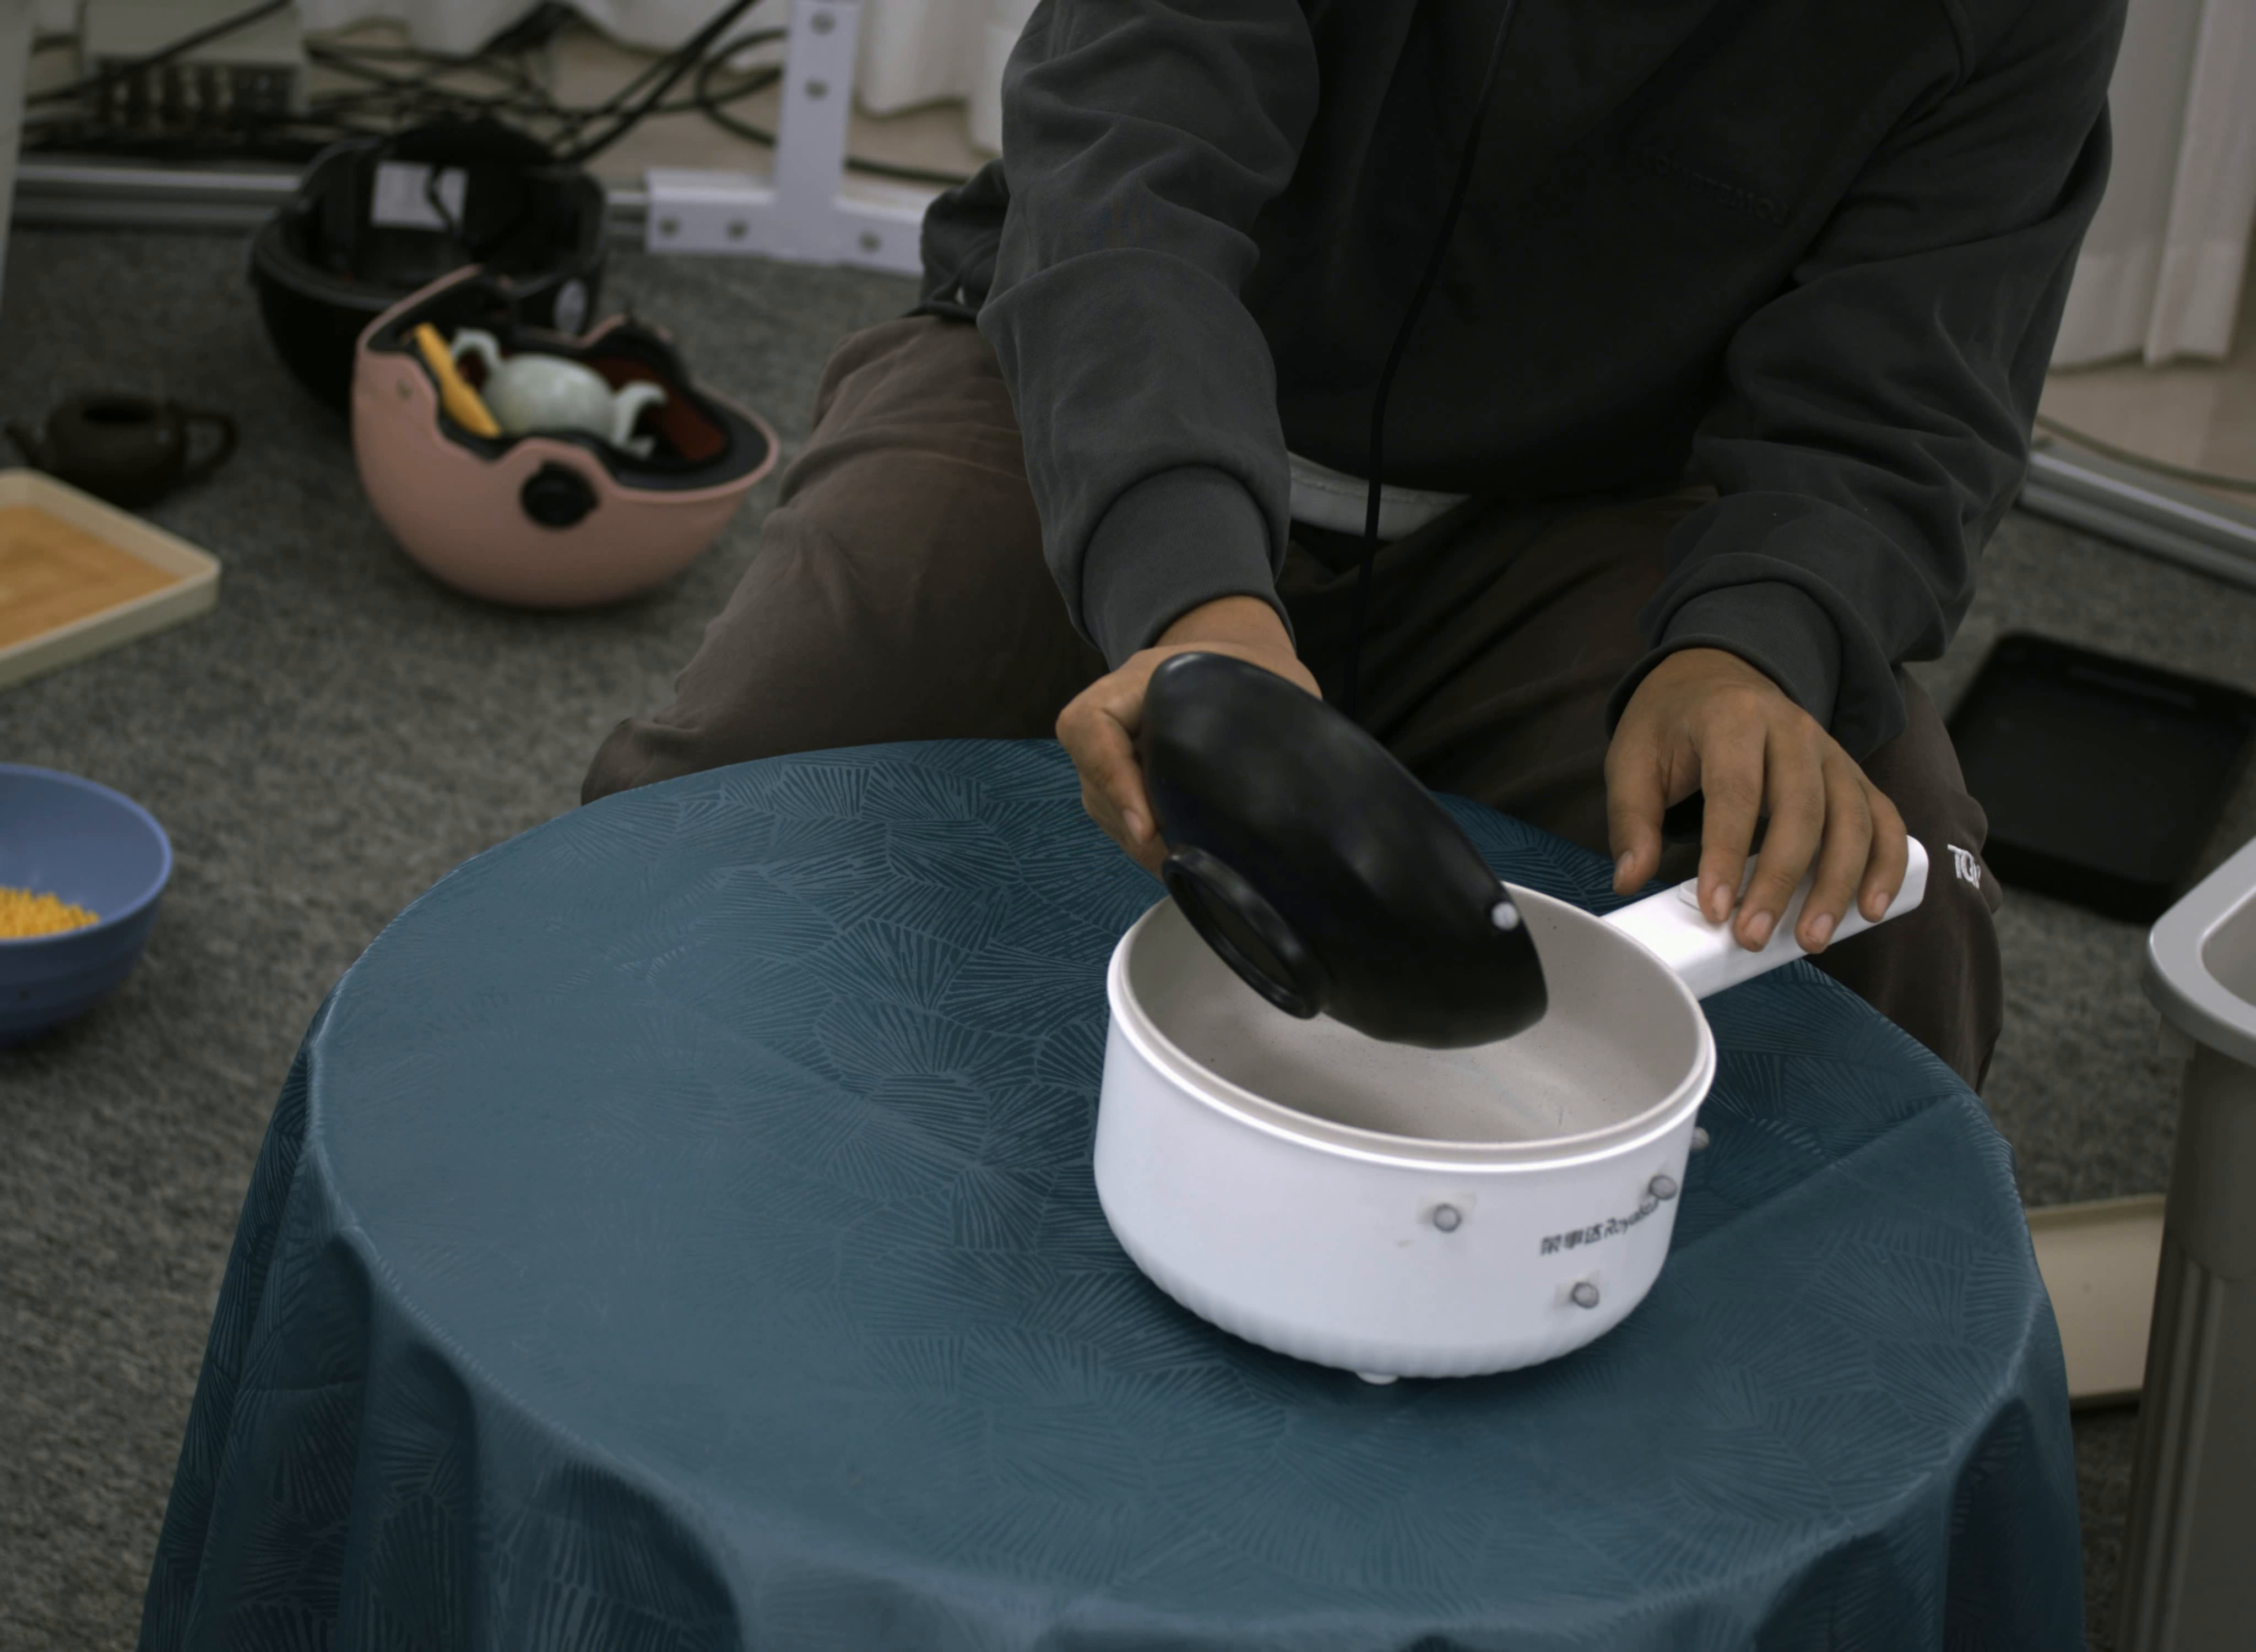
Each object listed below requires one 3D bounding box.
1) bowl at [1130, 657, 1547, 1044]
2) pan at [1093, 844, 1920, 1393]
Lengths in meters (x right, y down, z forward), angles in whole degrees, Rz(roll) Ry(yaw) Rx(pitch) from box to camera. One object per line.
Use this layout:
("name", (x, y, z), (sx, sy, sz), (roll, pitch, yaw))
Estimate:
("bowl", (0.057, 0.017, 1.720), (0.171, 0.137, 0.066), (44, 77, 8))
("pan", (0.141, 0.090, 1.815), (0.353, 0.102, 0.203), (-16, 31, -42))
